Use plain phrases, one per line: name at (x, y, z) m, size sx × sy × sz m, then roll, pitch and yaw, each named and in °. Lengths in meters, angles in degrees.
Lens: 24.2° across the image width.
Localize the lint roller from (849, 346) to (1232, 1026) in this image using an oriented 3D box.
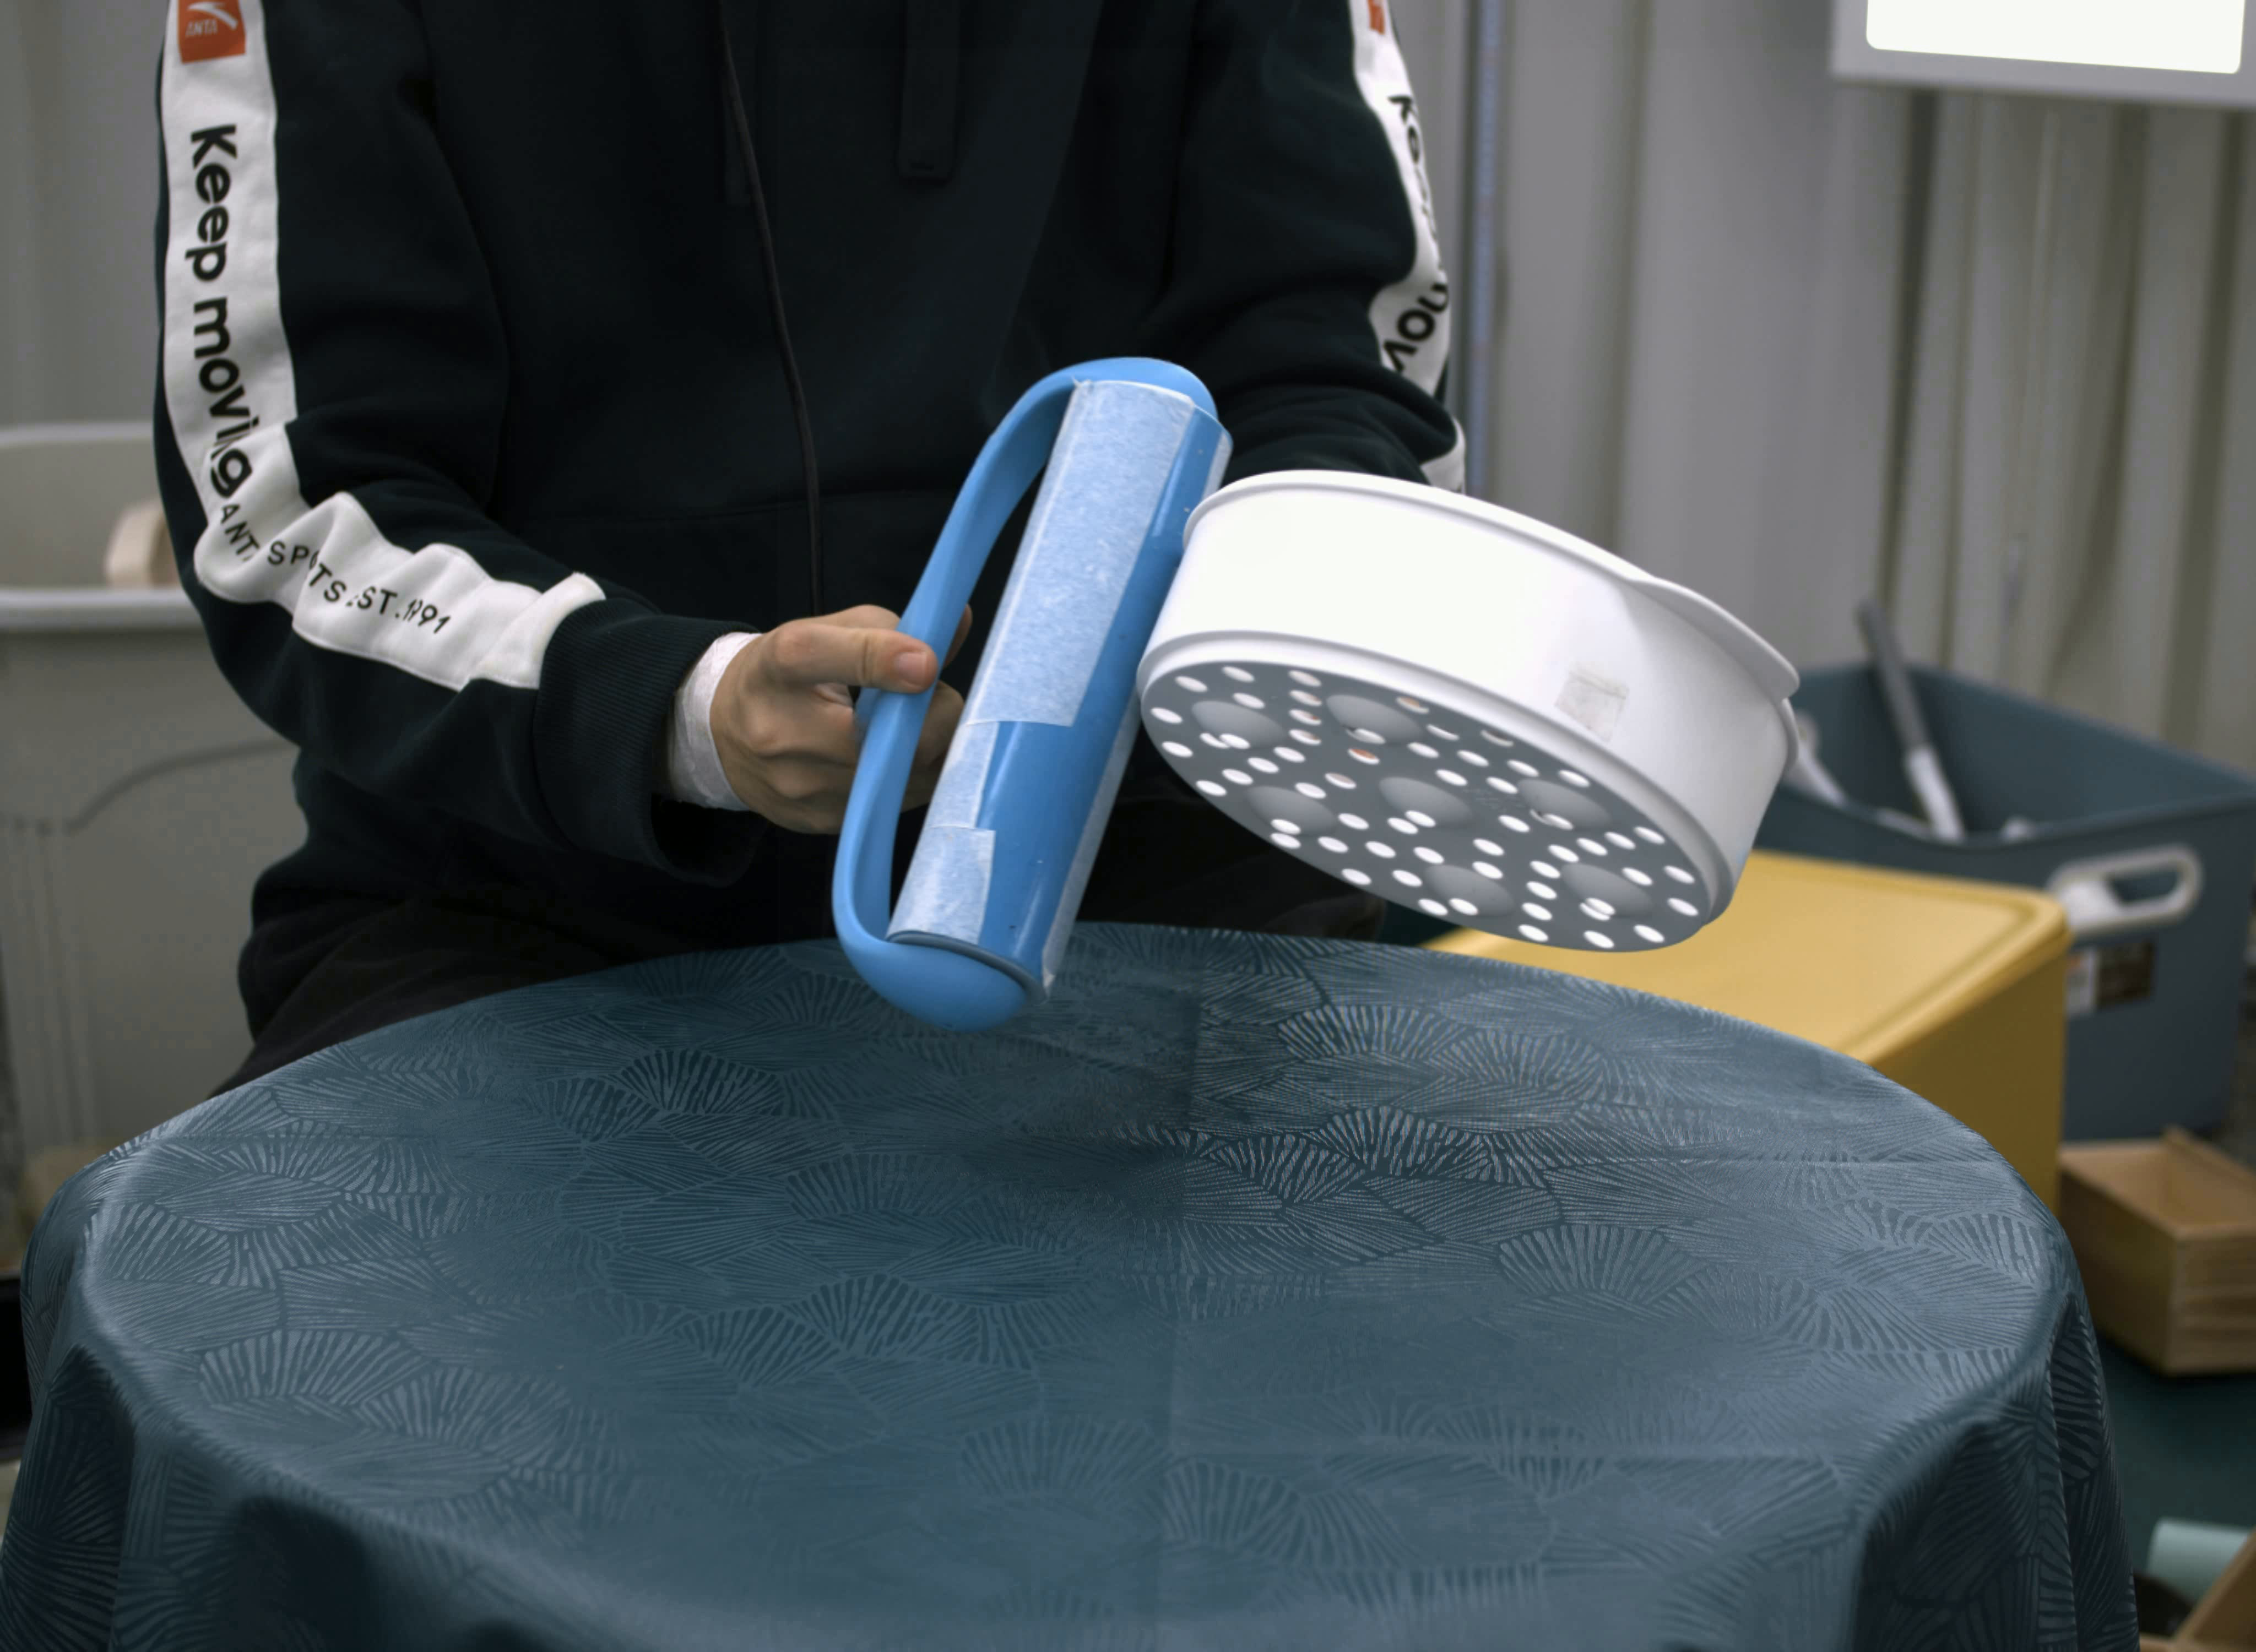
lint roller at (-0.050, -0.034, 1.674) m, size 0.068 × 0.228 × 0.179 m, roll 25°, pitch -23°, yaw -26°

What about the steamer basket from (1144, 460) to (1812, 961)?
steamer basket at (0.102, -0.029, 1.598) m, size 0.204 × 0.069 × 0.228 m, roll 36°, pitch -25°, yaw -33°
